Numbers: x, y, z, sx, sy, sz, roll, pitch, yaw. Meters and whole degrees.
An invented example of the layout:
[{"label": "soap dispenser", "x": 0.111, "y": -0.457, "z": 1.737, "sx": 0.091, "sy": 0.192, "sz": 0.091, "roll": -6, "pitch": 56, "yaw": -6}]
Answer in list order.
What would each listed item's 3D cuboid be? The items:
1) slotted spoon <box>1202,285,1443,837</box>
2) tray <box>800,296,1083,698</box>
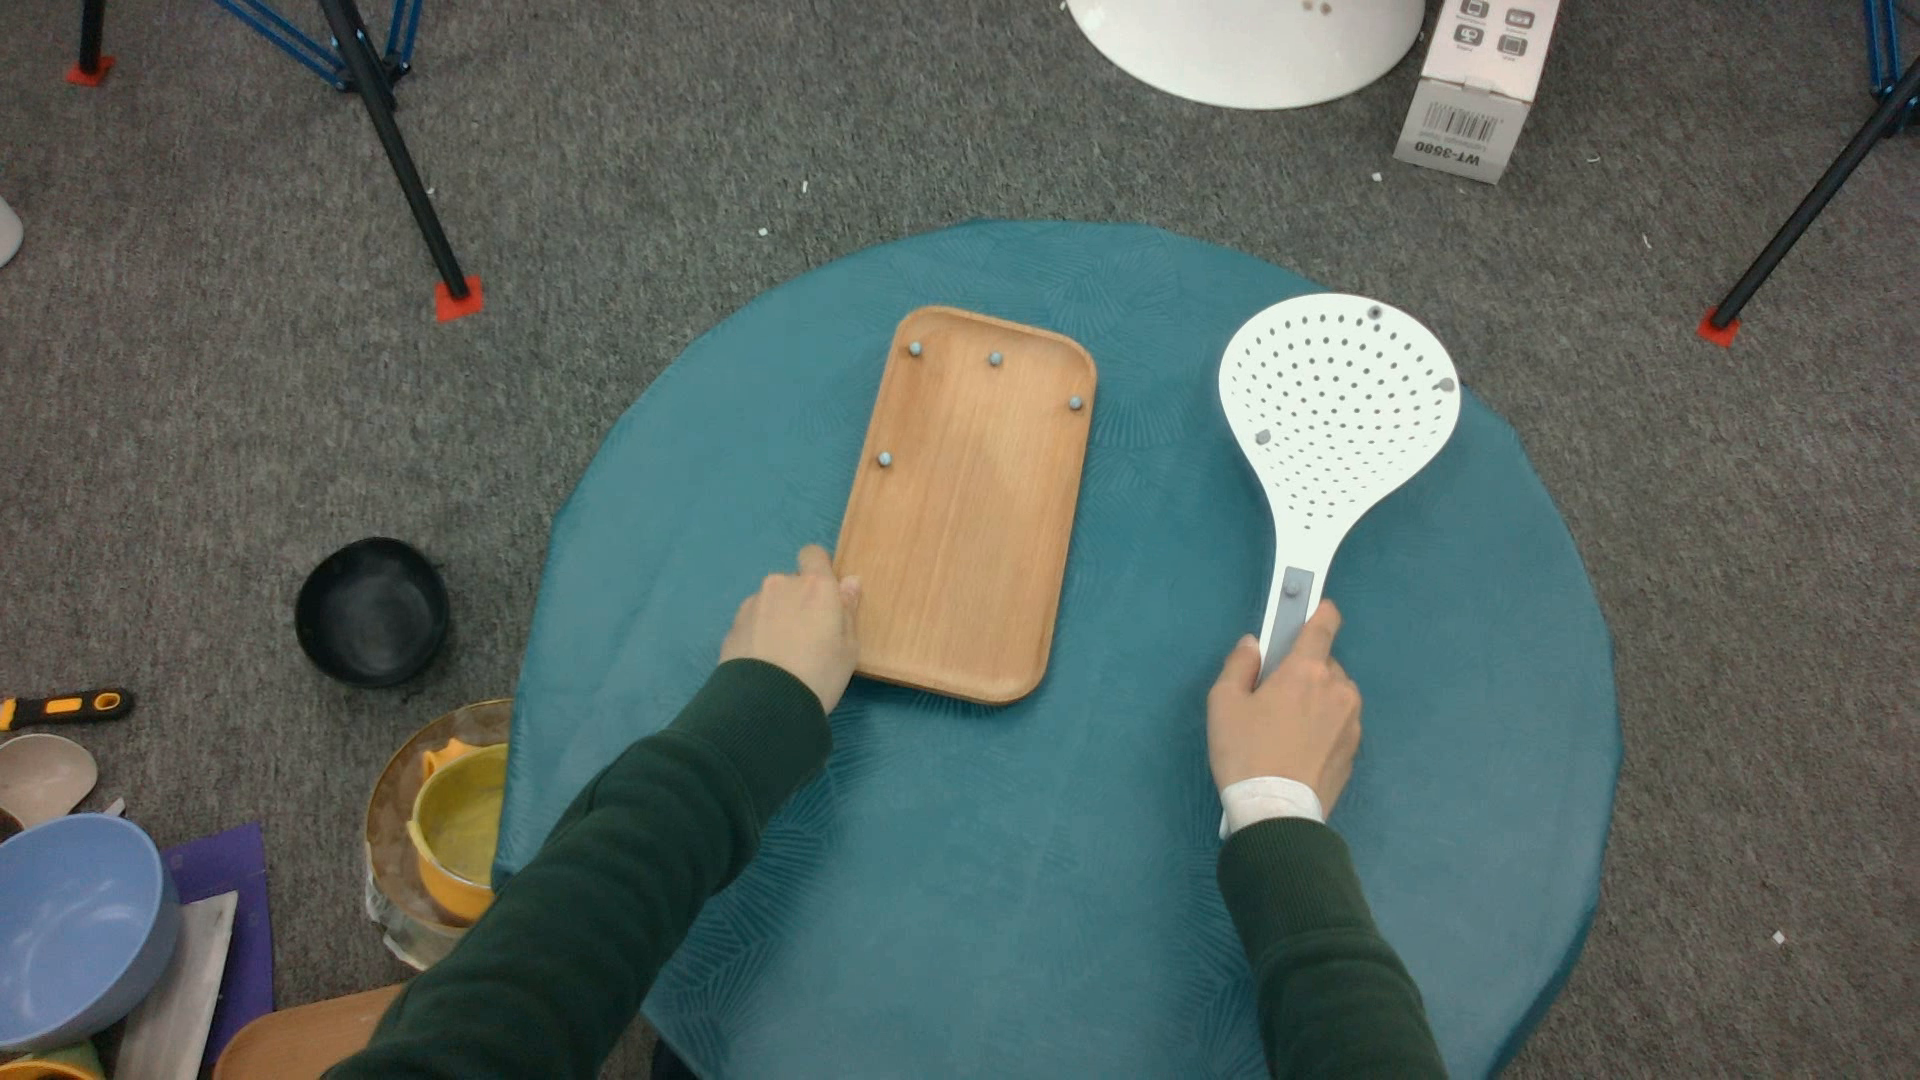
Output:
[{"label": "slotted spoon", "x": 0.183, "y": -0.002, "z": 0.763, "sx": 0.136, "sy": 0.045, "sz": 0.351, "roll": 13, "pitch": 57, "yaw": 11}, {"label": "tray", "x": -0.006, "y": -0.031, "z": 0.790, "sx": 0.130, "sy": 0.023, "sz": 0.252, "roll": 13, "pitch": 61, "yaw": 0}]
